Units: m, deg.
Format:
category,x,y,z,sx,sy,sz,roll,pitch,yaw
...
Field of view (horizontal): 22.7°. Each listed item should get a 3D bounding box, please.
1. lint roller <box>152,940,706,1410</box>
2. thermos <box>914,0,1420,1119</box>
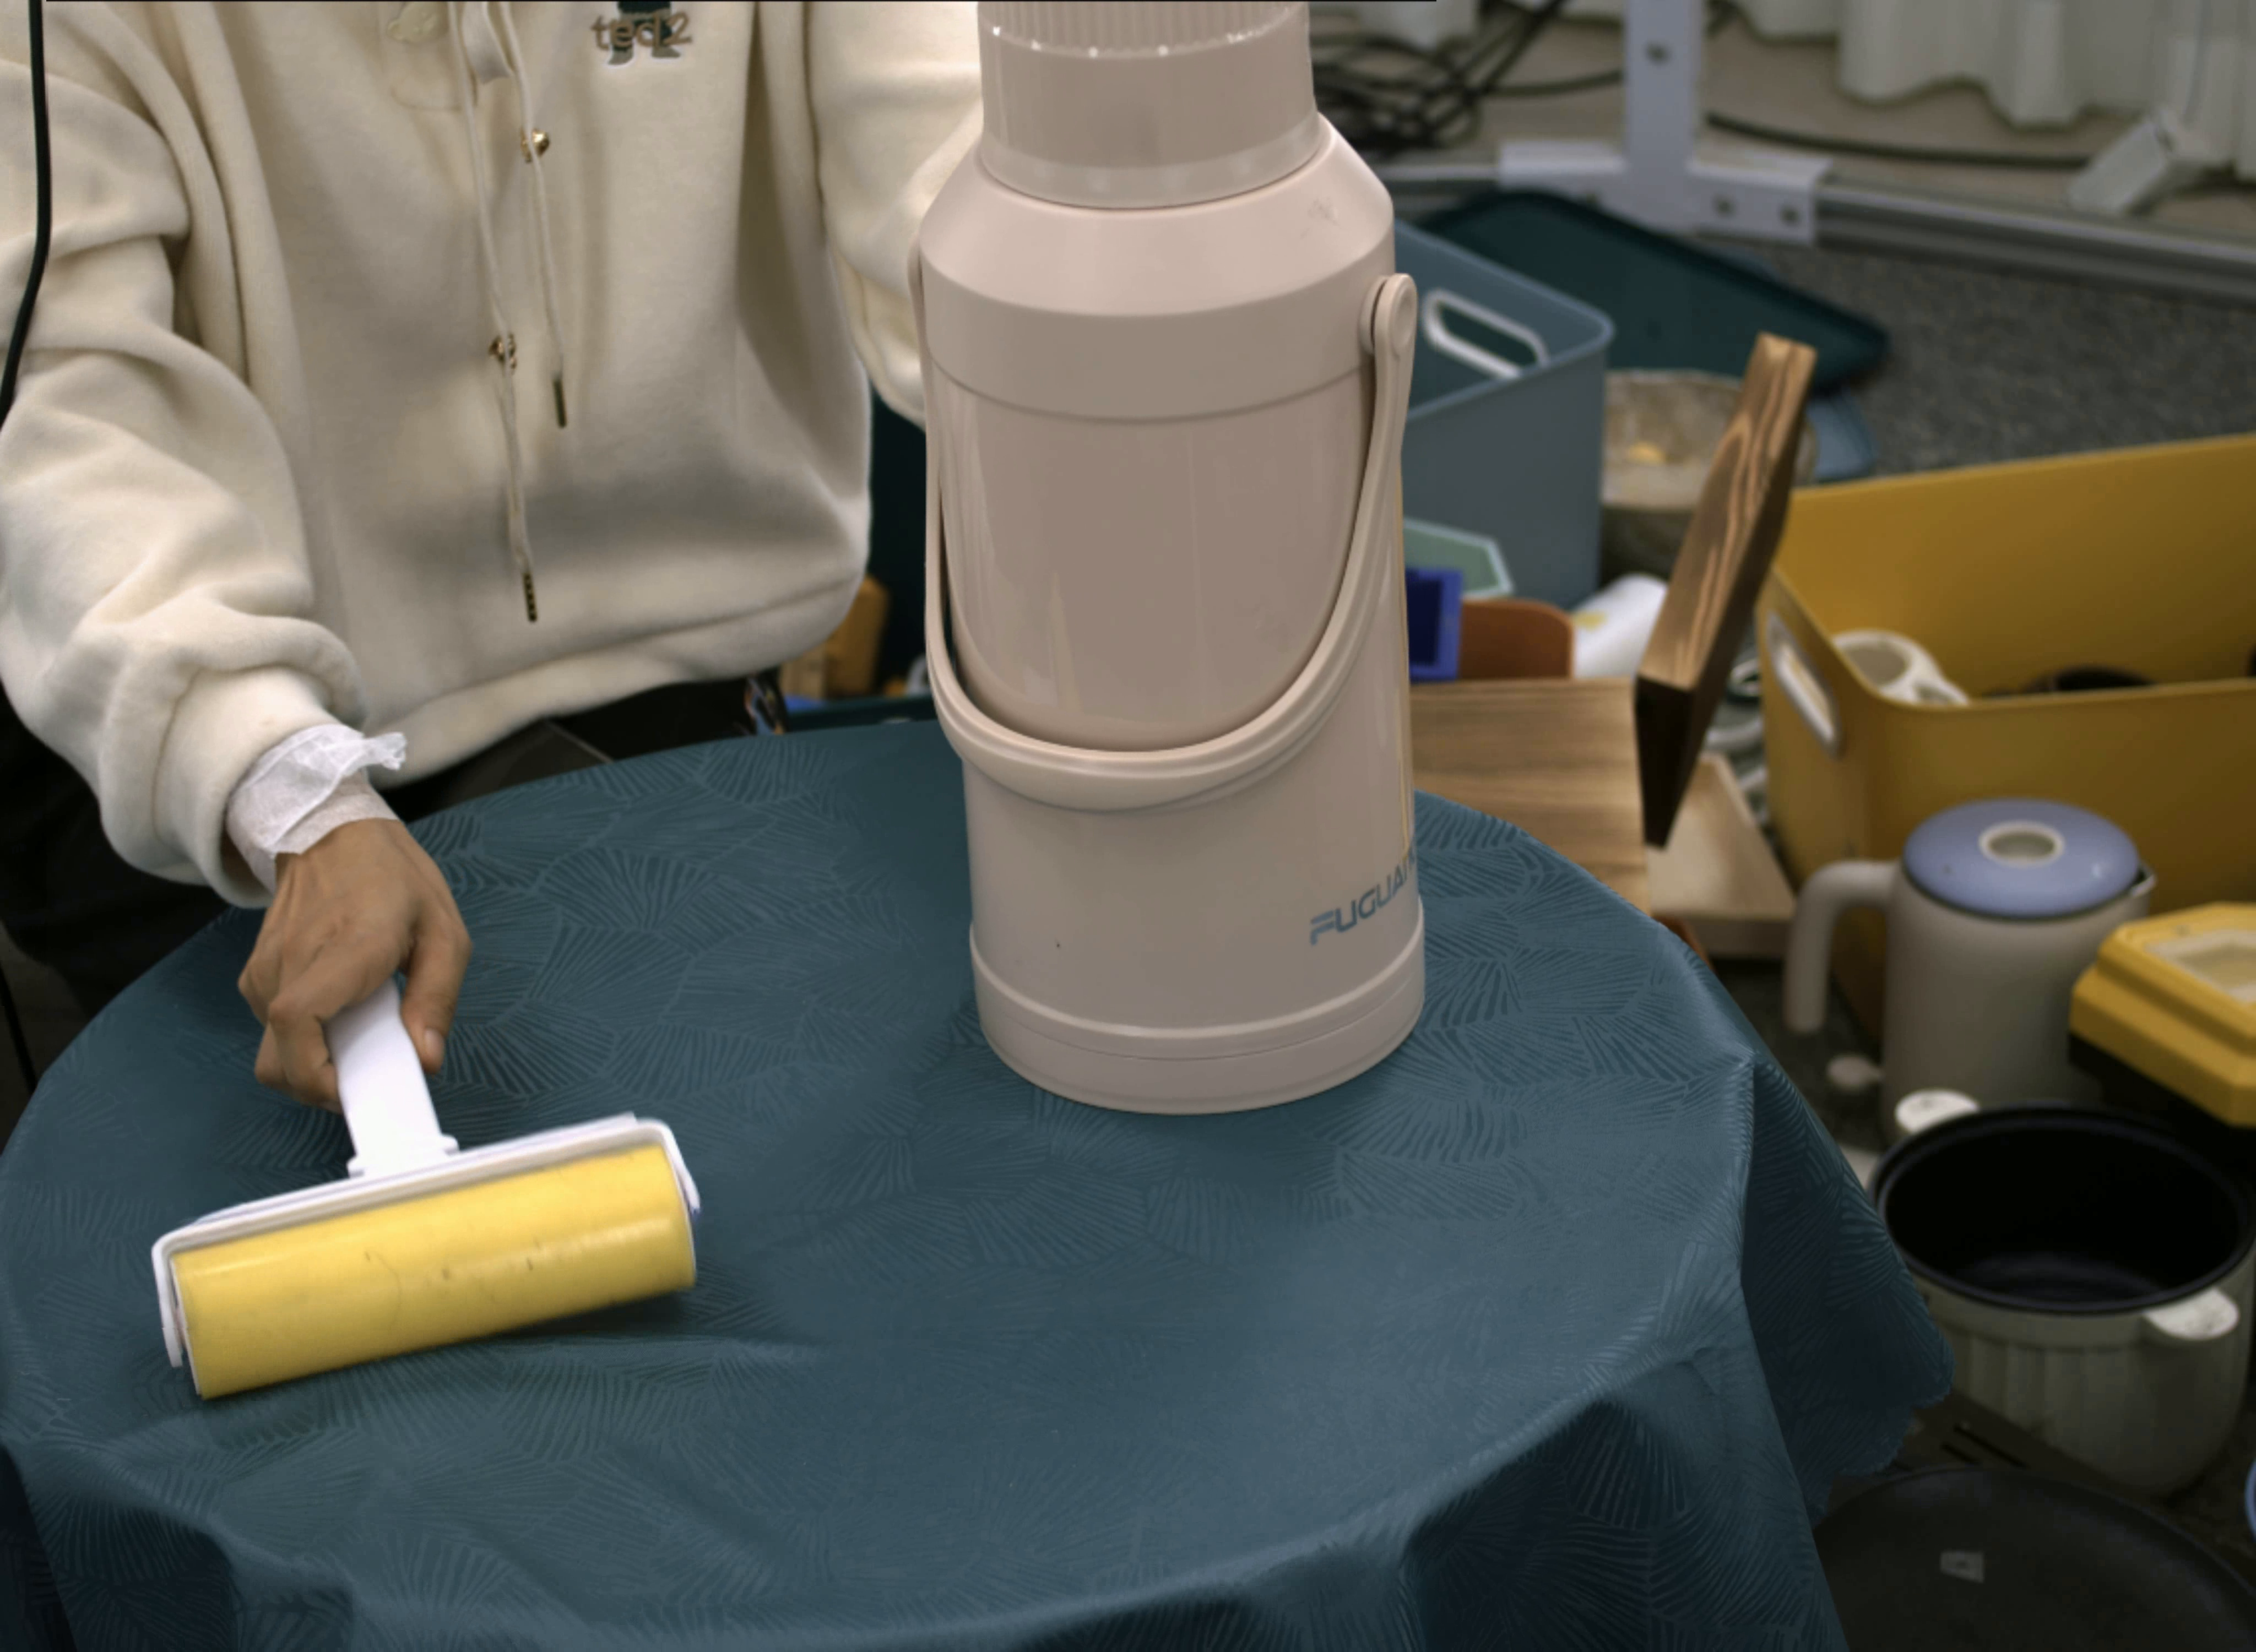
category,x,y,z,sx,sy,sz,roll,pitch,yaw
lint roller,-0.241,0.096,1.833,0.174,0.050,0.195,-12,48,-12
thermos,0.022,-0.118,1.897,0.174,0.402,0.210,8,28,24
